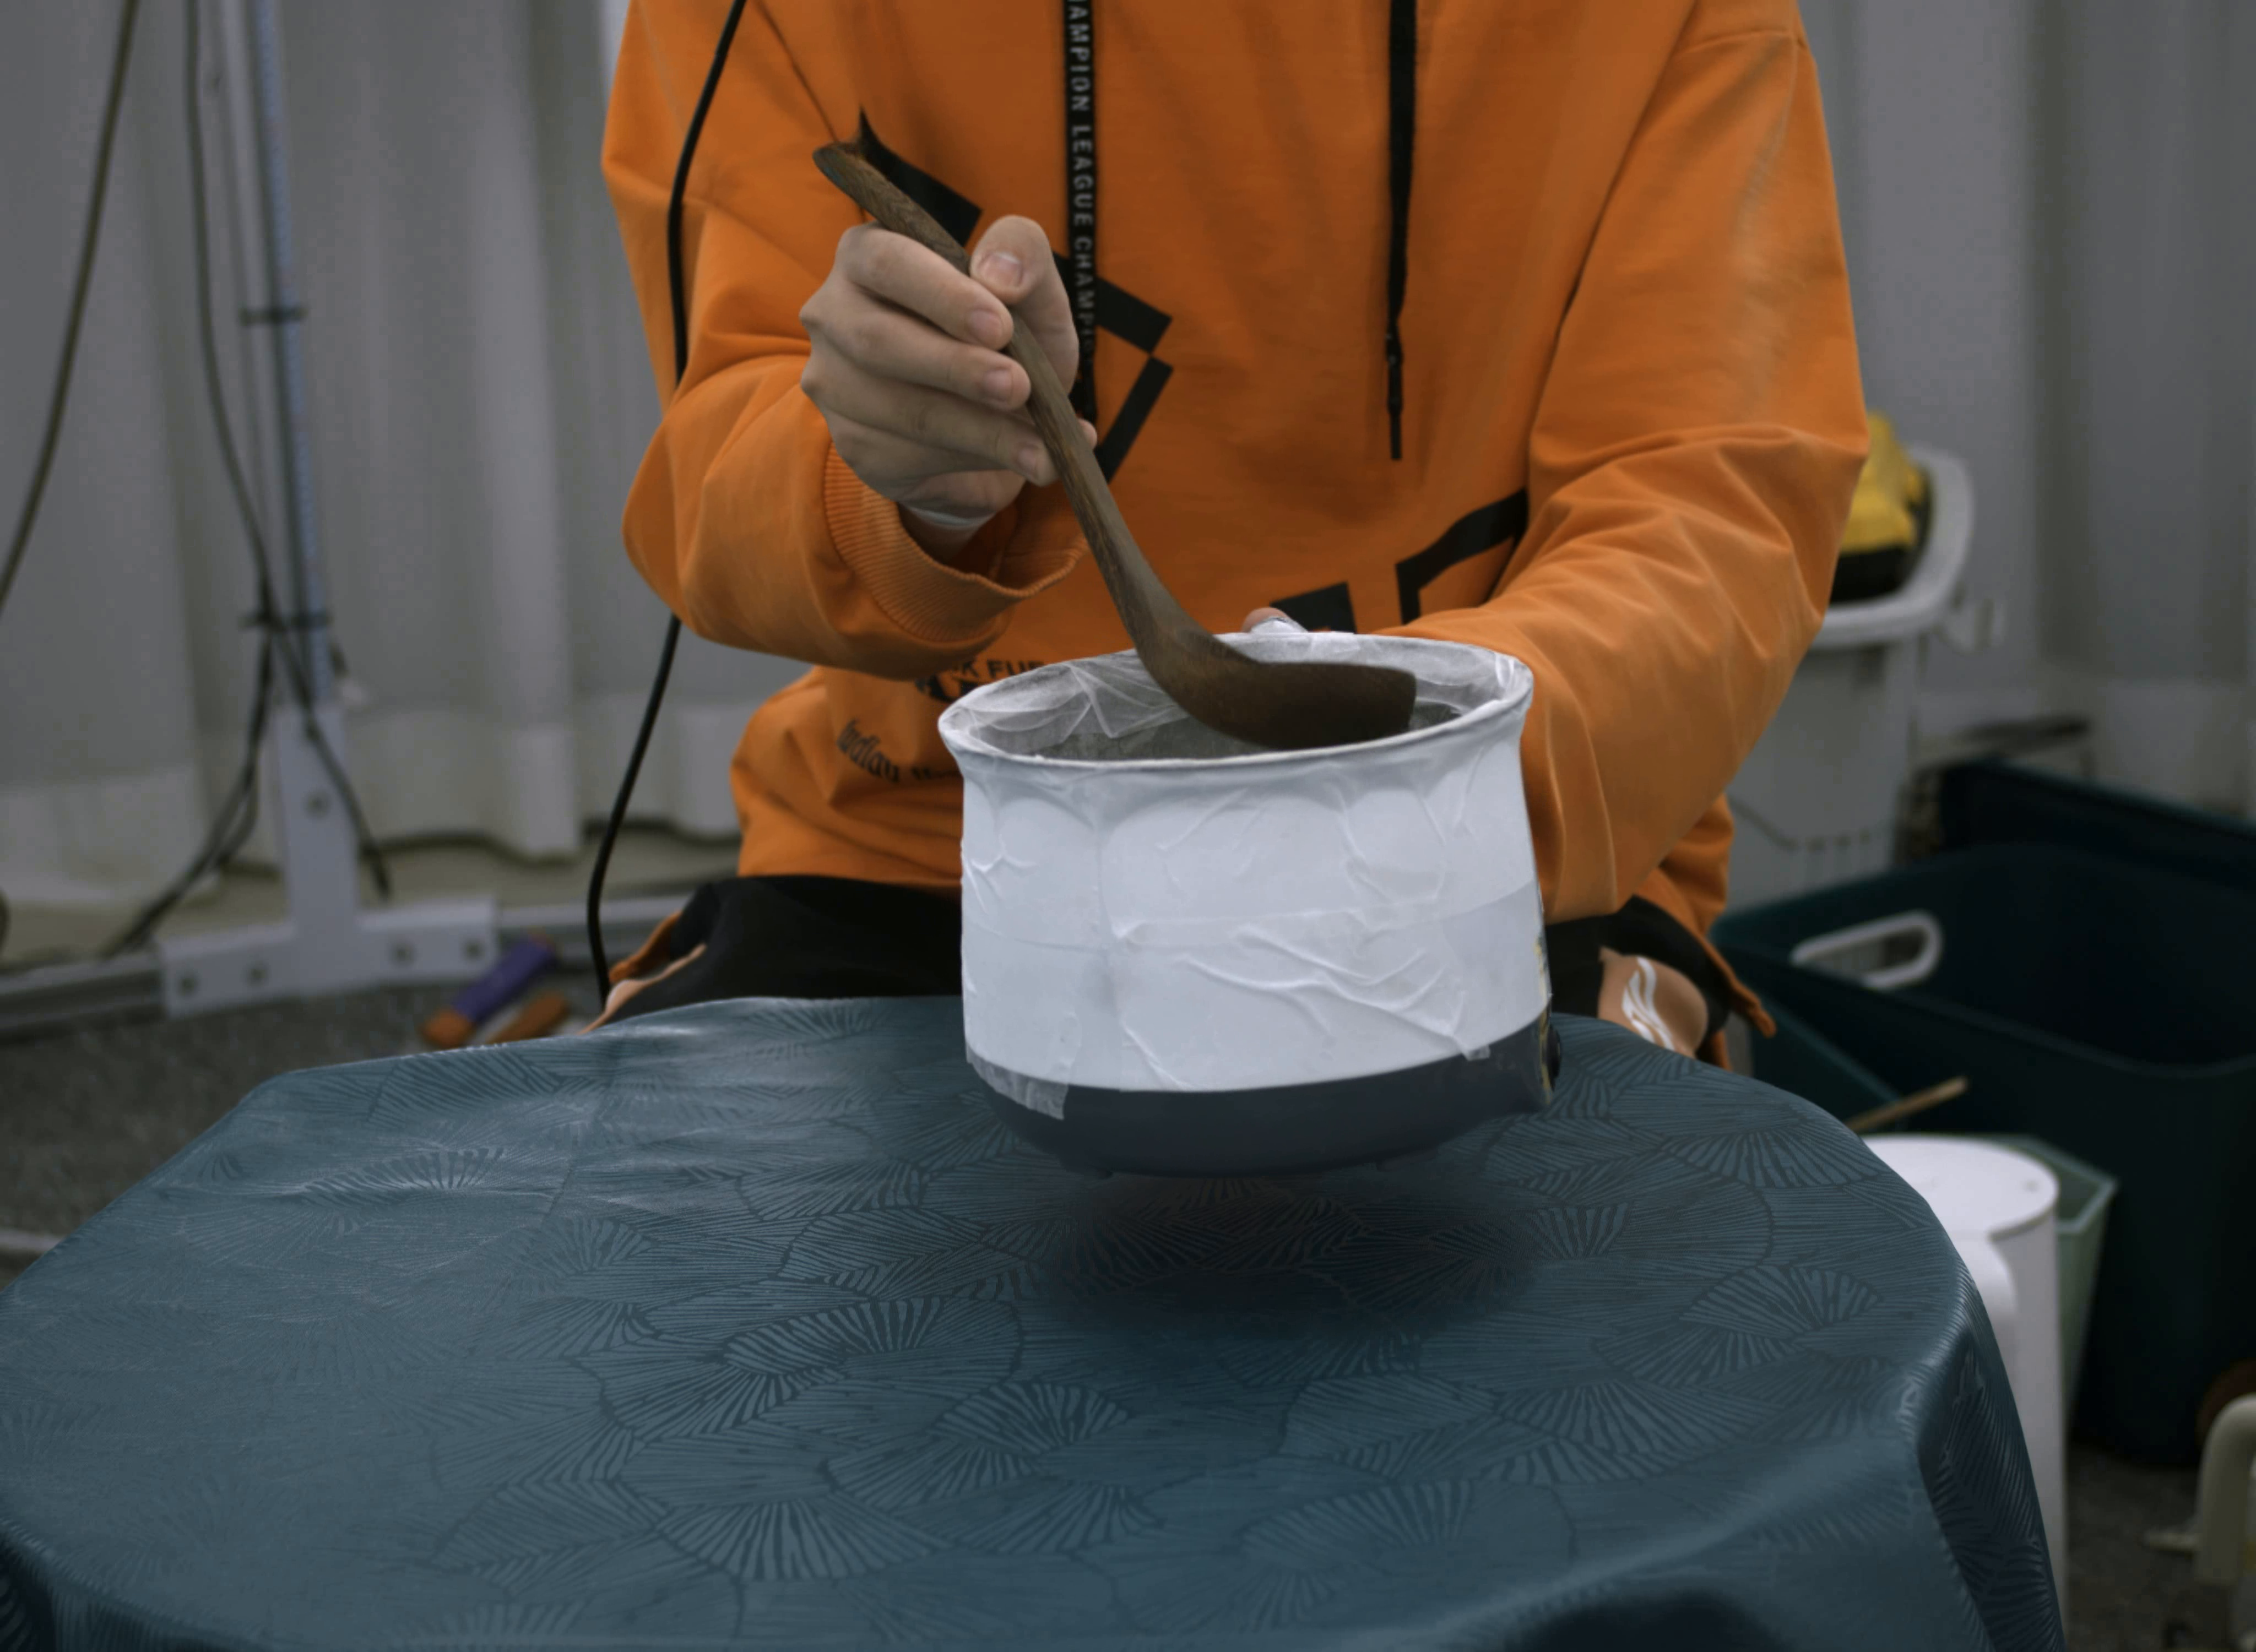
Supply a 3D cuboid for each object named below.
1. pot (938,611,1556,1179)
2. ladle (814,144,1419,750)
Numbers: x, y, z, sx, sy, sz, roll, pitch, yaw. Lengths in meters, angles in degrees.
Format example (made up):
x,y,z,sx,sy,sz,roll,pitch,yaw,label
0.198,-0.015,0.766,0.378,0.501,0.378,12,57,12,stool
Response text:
x,y,z,sx,sy,sz,roll,pitch,yaw,label
0.039,0.016,1.657,0.178,0.136,0.235,-2,13,8,pot
-0.005,-0.127,1.694,0.071,0.277,0.075,-38,-24,15,ladle
